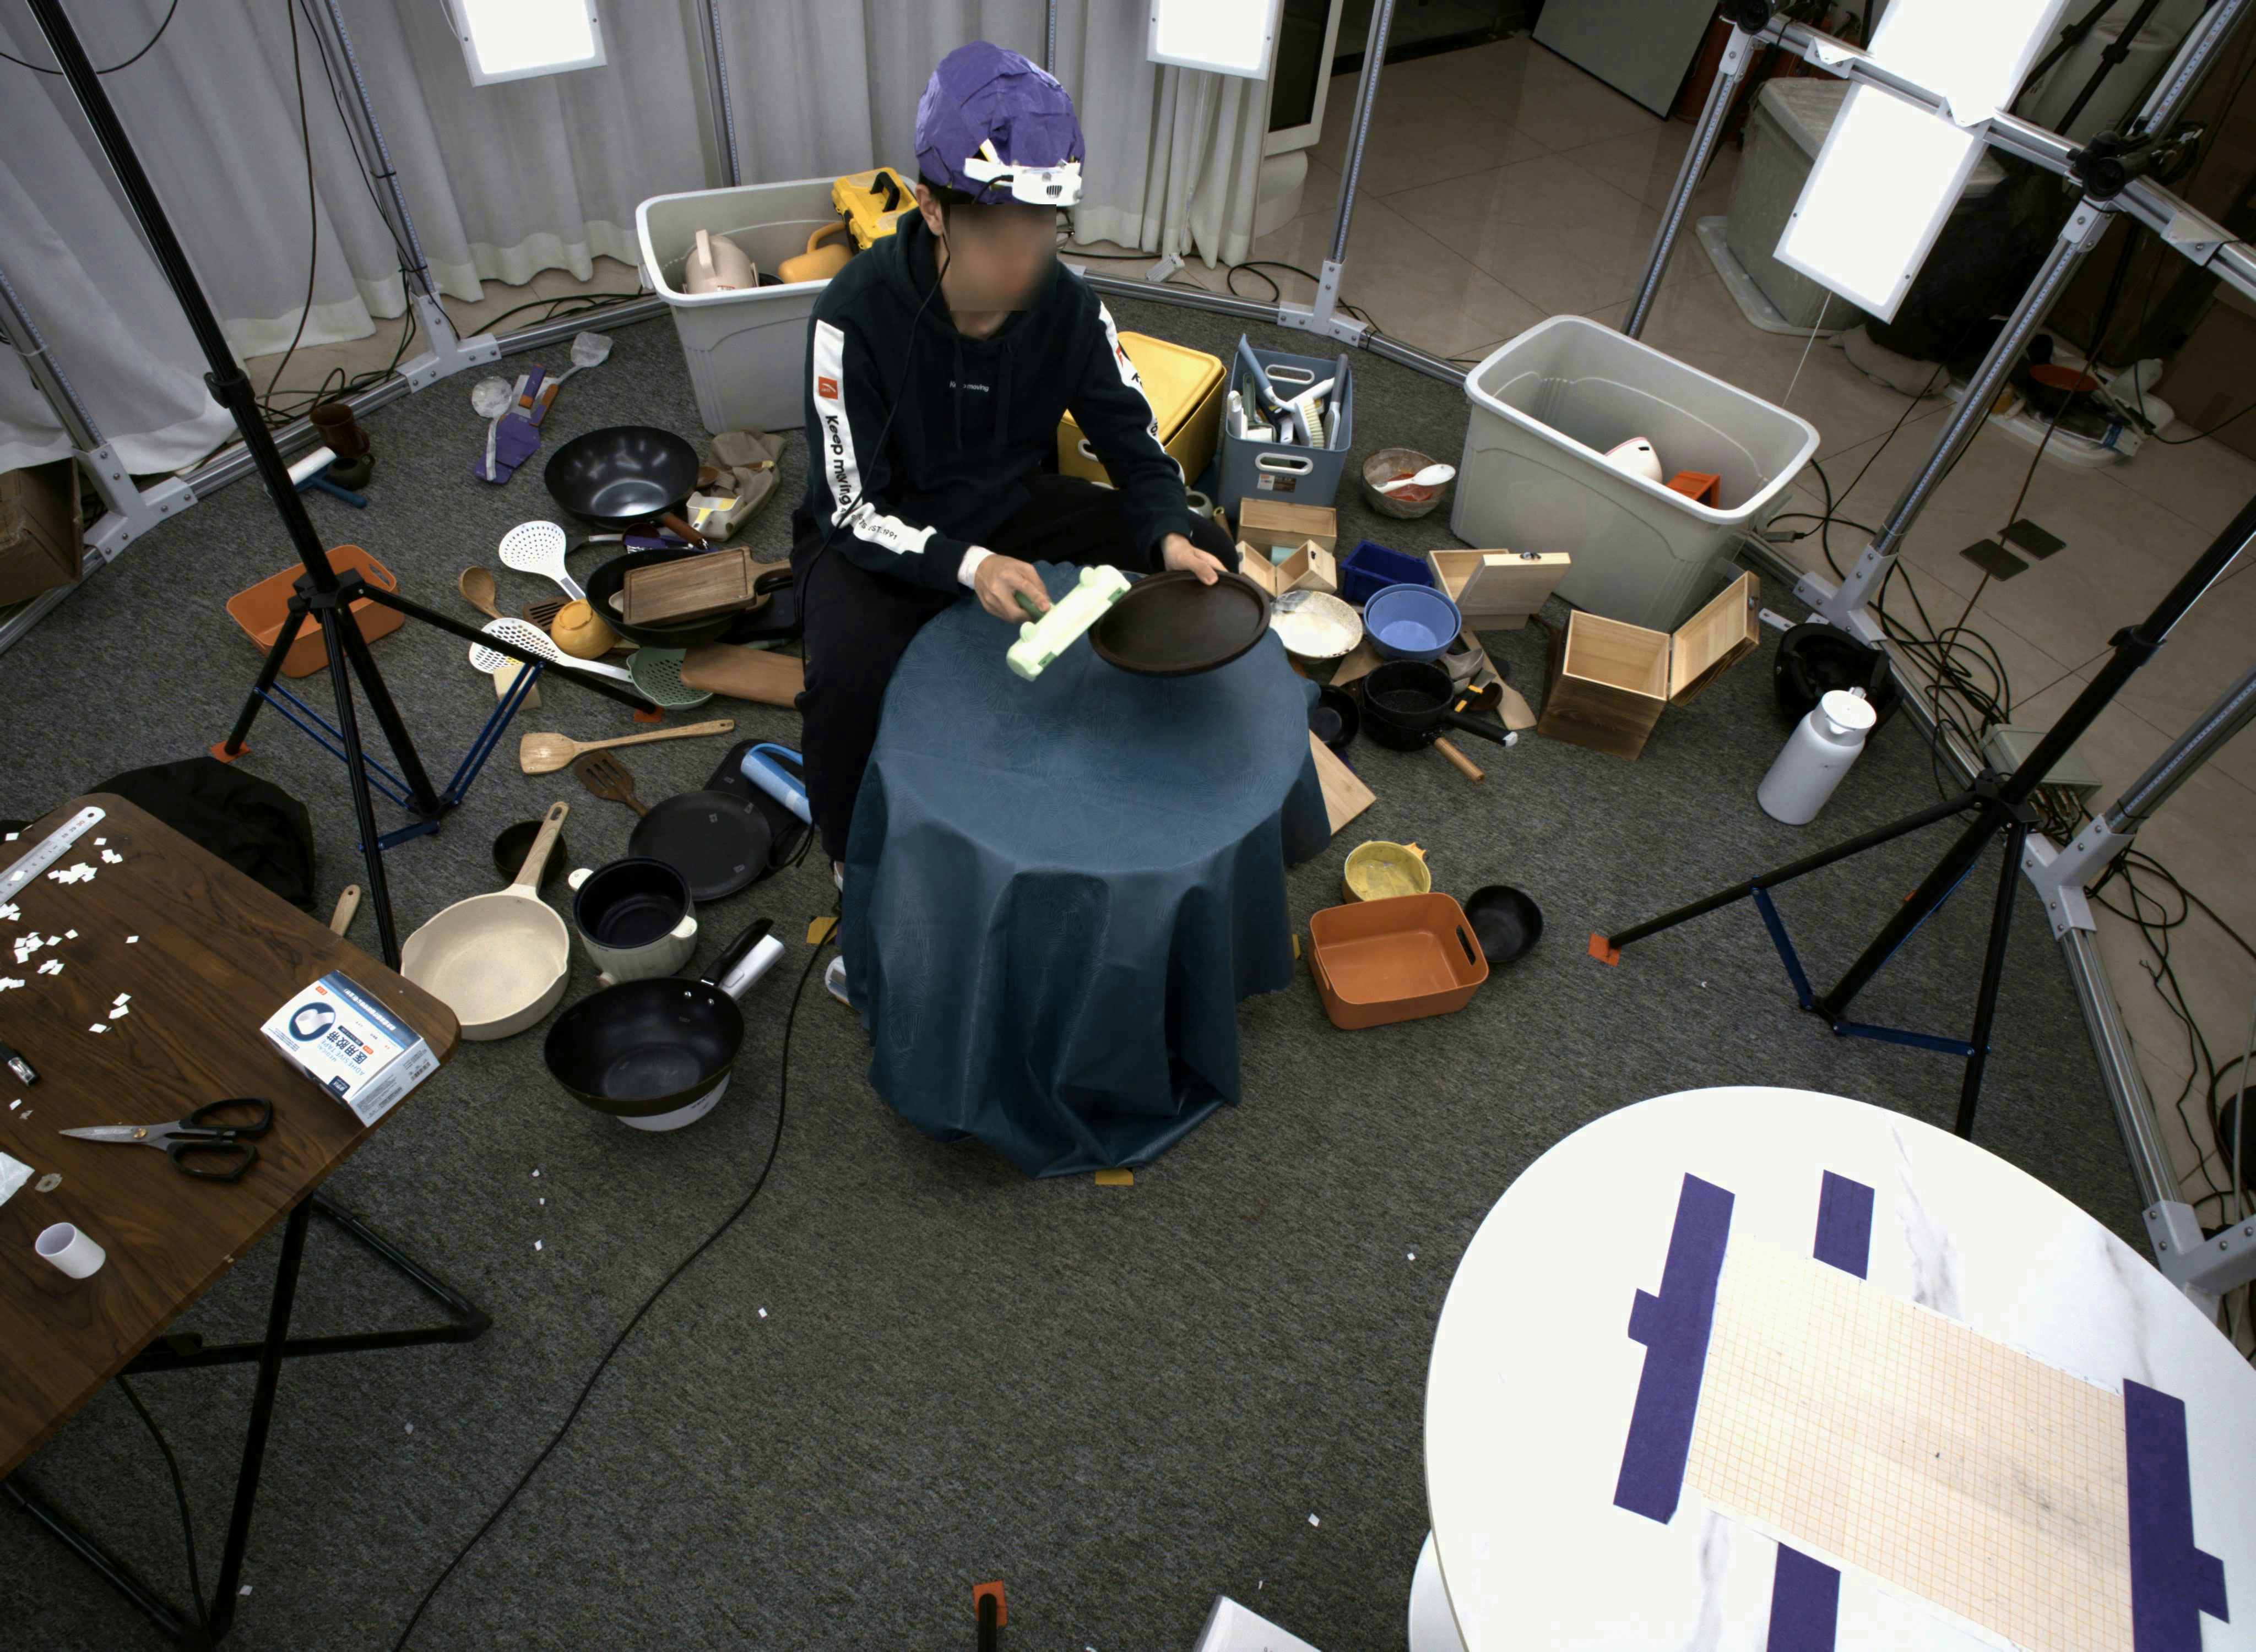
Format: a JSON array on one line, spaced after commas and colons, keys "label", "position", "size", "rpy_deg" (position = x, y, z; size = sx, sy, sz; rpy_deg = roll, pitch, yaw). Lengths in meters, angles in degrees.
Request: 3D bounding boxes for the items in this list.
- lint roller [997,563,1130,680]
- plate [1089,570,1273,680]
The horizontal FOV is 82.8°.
[{"label": "lint roller", "position": [-0.124, -0.314, 1.780], "size": [0.186, 0.080, 0.200], "rpy_deg": [36, 72, 28]}, {"label": "plate", "position": [0.072, -0.277, 1.761], "size": [0.255, 0.028, 0.261], "rpy_deg": [-7, 41, 6]}]
